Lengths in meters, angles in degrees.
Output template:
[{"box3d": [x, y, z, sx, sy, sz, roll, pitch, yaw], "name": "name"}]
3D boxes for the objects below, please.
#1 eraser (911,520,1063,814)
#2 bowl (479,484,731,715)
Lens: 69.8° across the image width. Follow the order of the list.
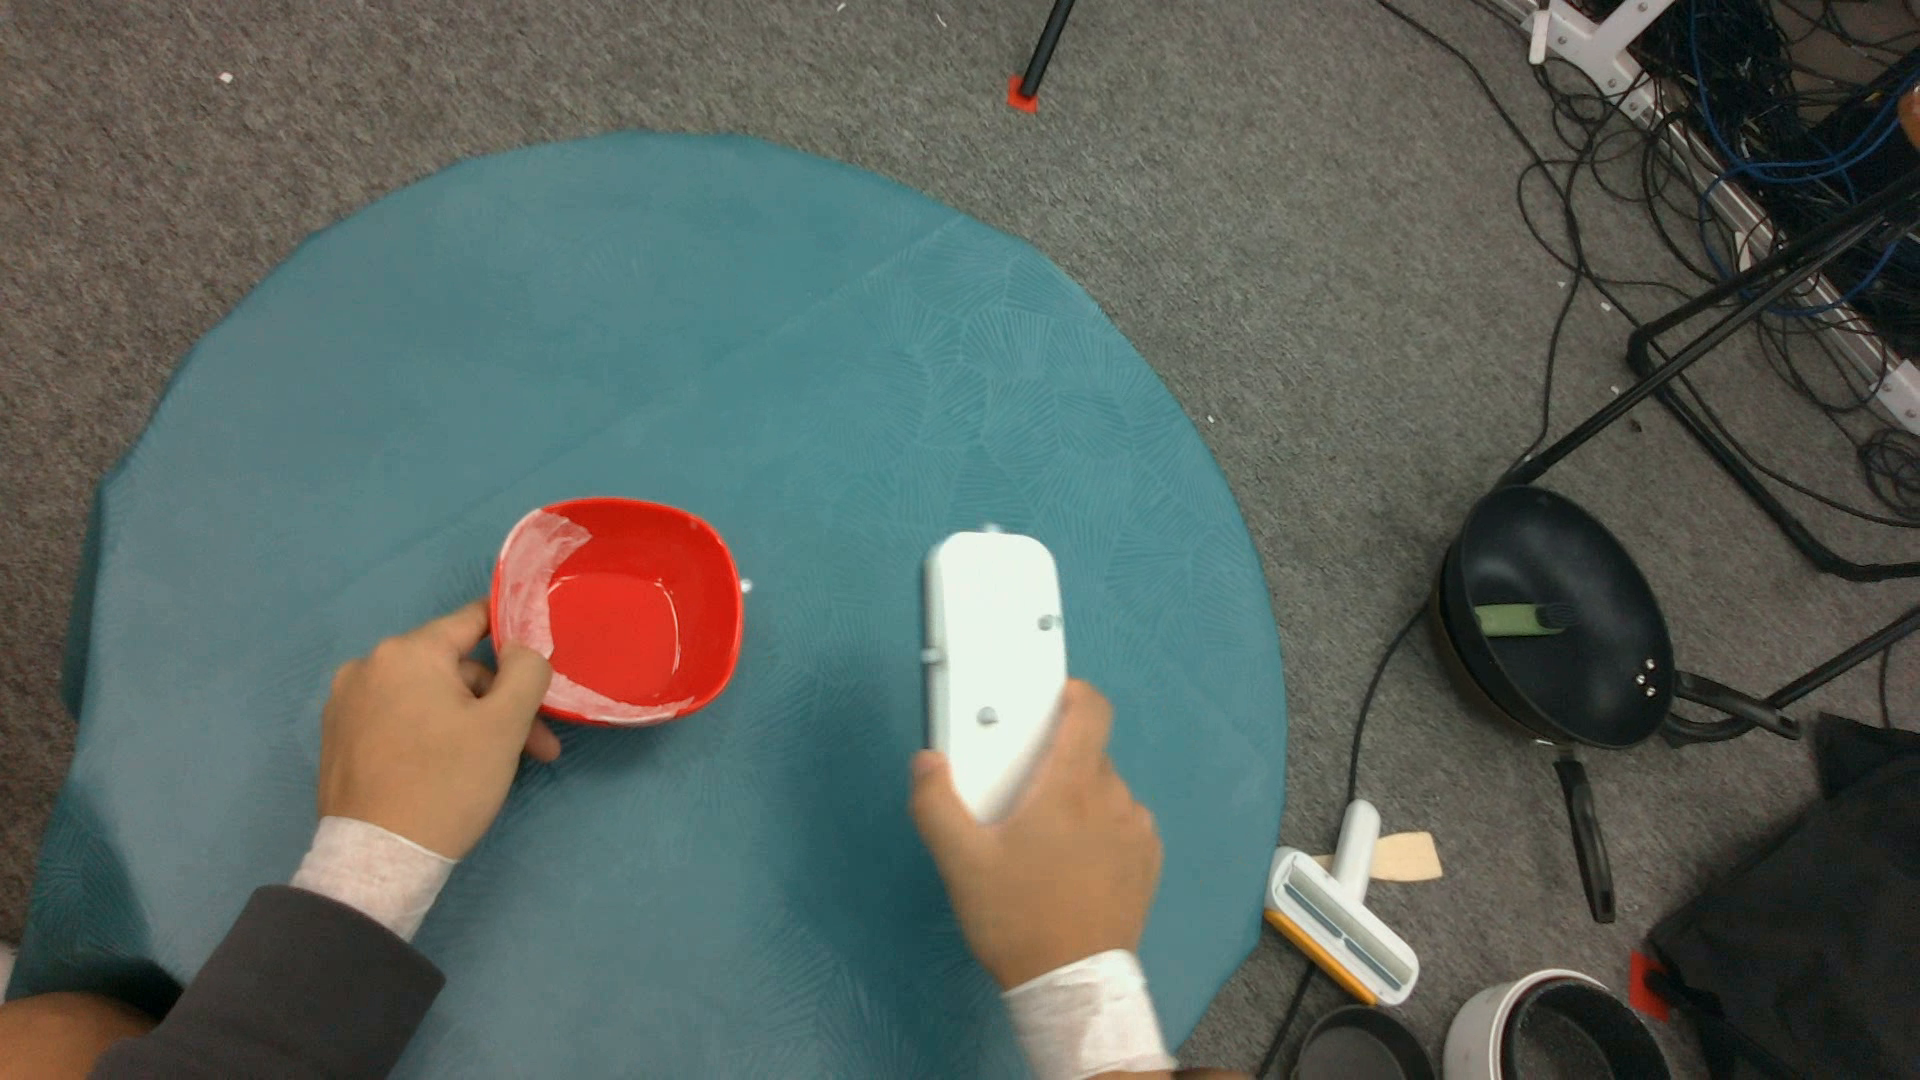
[{"box3d": [0.011, 0.056, 0.620, 0.063, 0.034, 0.131, 5, 73, -34], "name": "eraser"}, {"box3d": [-0.166, 0.034, 0.637, 0.119, 0.051, 0.119, 10, 61, -19], "name": "bowl"}]
